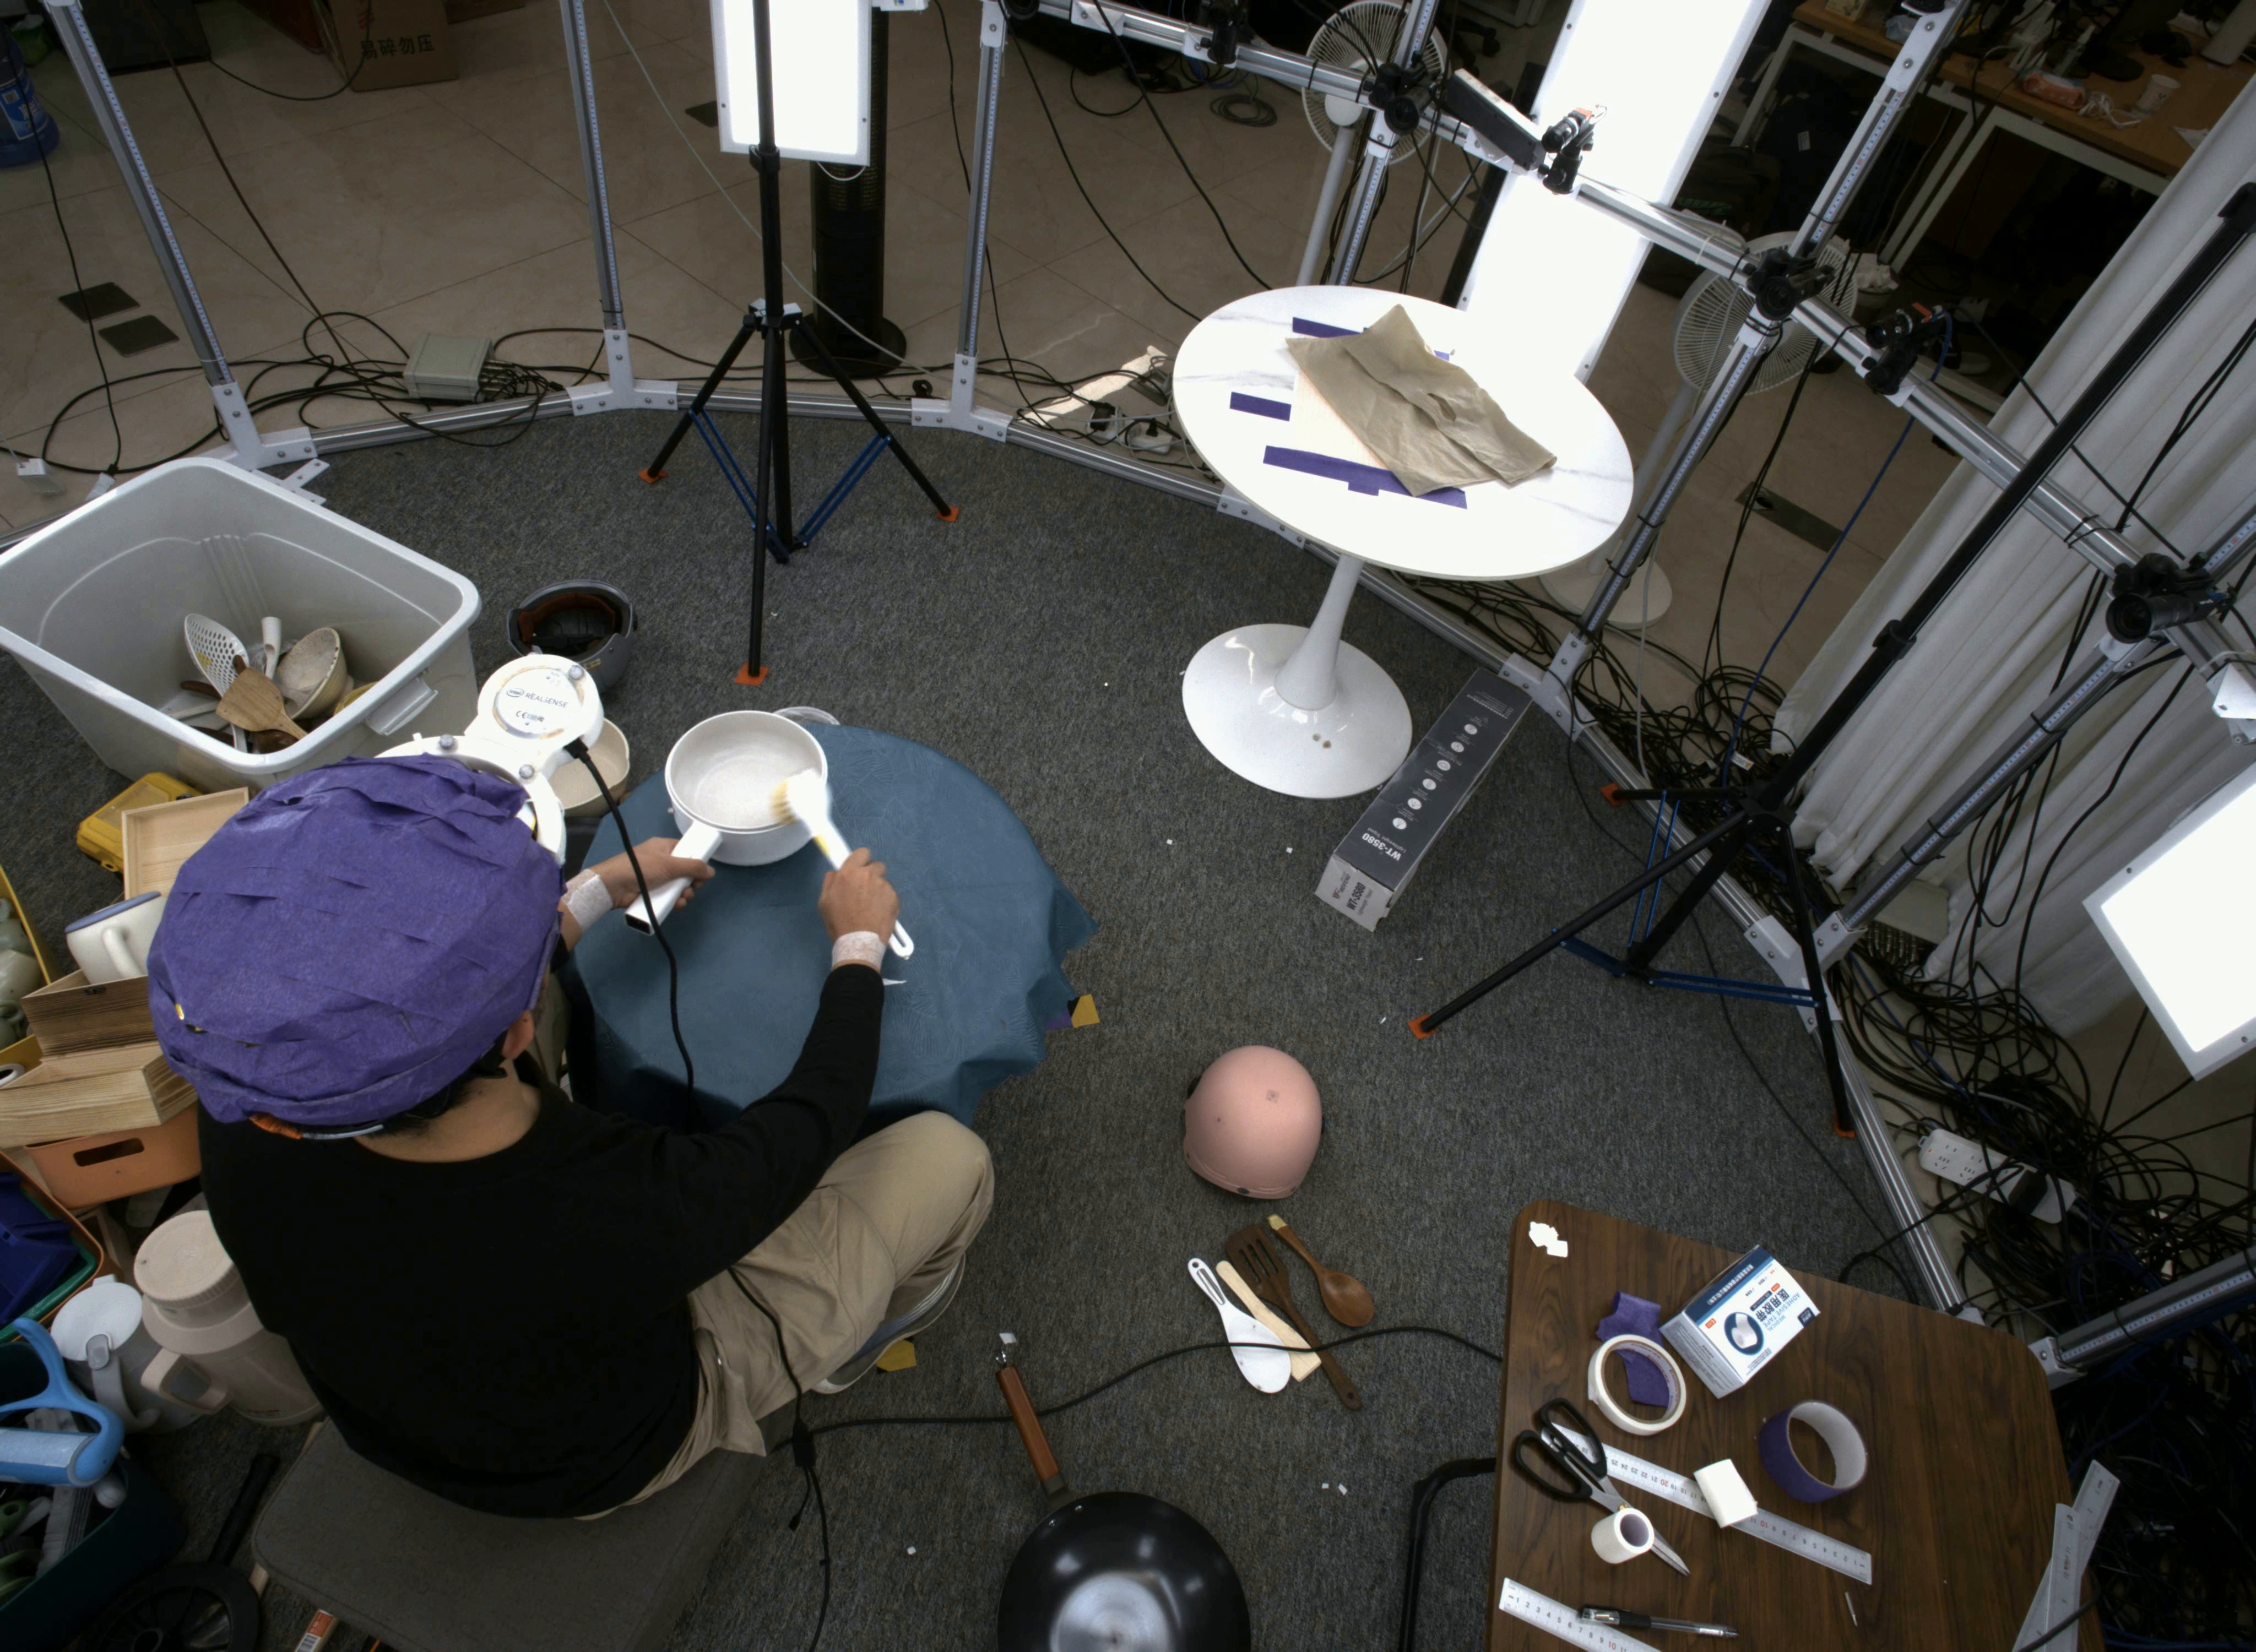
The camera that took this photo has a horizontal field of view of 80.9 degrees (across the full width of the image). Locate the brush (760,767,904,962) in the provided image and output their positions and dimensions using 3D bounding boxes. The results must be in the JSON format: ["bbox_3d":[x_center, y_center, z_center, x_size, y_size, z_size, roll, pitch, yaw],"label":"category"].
[{"bbox_3d":[-0.356,0.051,1.567,0.069,0.055,0.269,-34,96,-43],"label":"brush"}]

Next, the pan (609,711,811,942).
[{"bbox_3d":[-0.534,0.014,1.617,0.199,0.104,0.351,22,52,2],"label":"pan"}]
